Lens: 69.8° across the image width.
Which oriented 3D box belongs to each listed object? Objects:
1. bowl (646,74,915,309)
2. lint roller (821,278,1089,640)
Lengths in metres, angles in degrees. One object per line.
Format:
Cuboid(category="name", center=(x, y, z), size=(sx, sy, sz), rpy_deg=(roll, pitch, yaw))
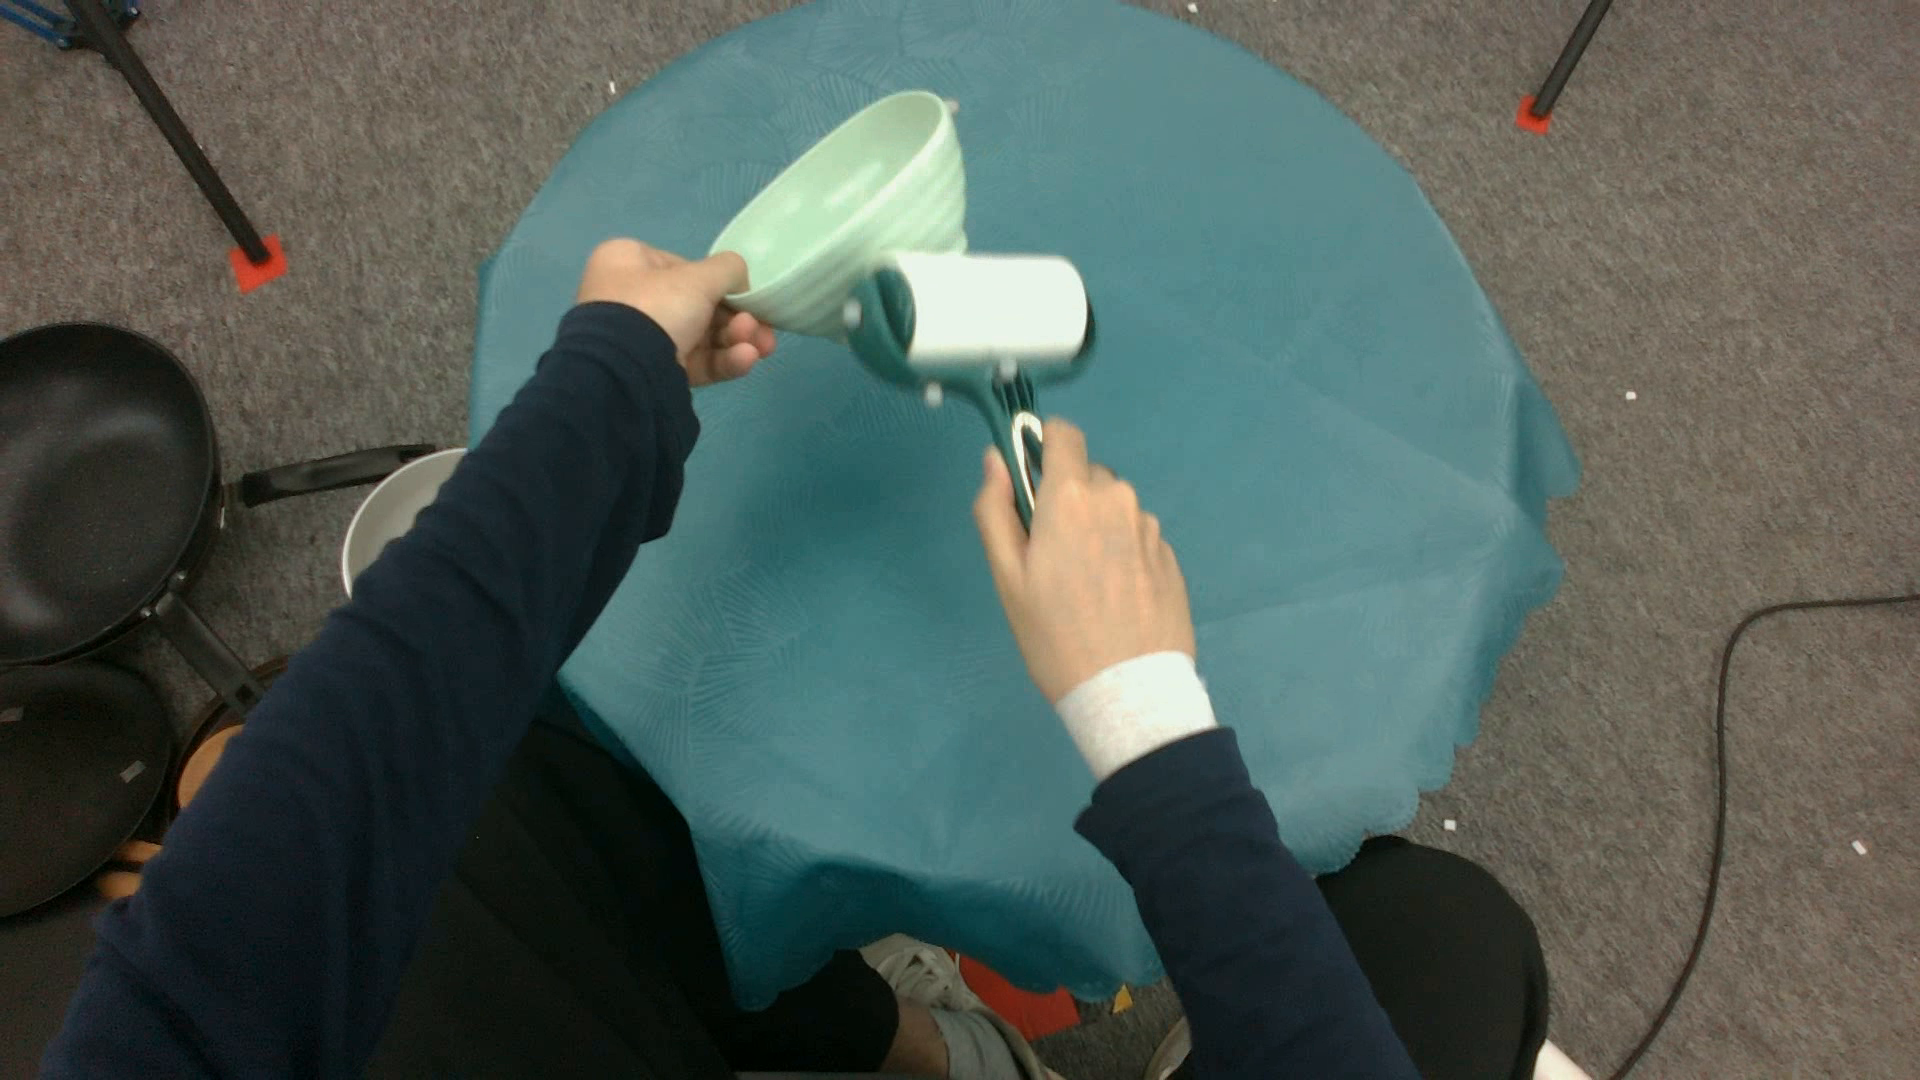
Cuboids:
Cuboid(category="bowl", center=(-0.074, -0.159, 0.652), size=(0.152, 0.151, 0.058), rpy_deg=(-43, 116, -22))
Cuboid(category="lint roller", center=(0.022, -0.043, 0.619), size=(0.135, 0.048, 0.180), rpy_deg=(-8, 62, -36))
